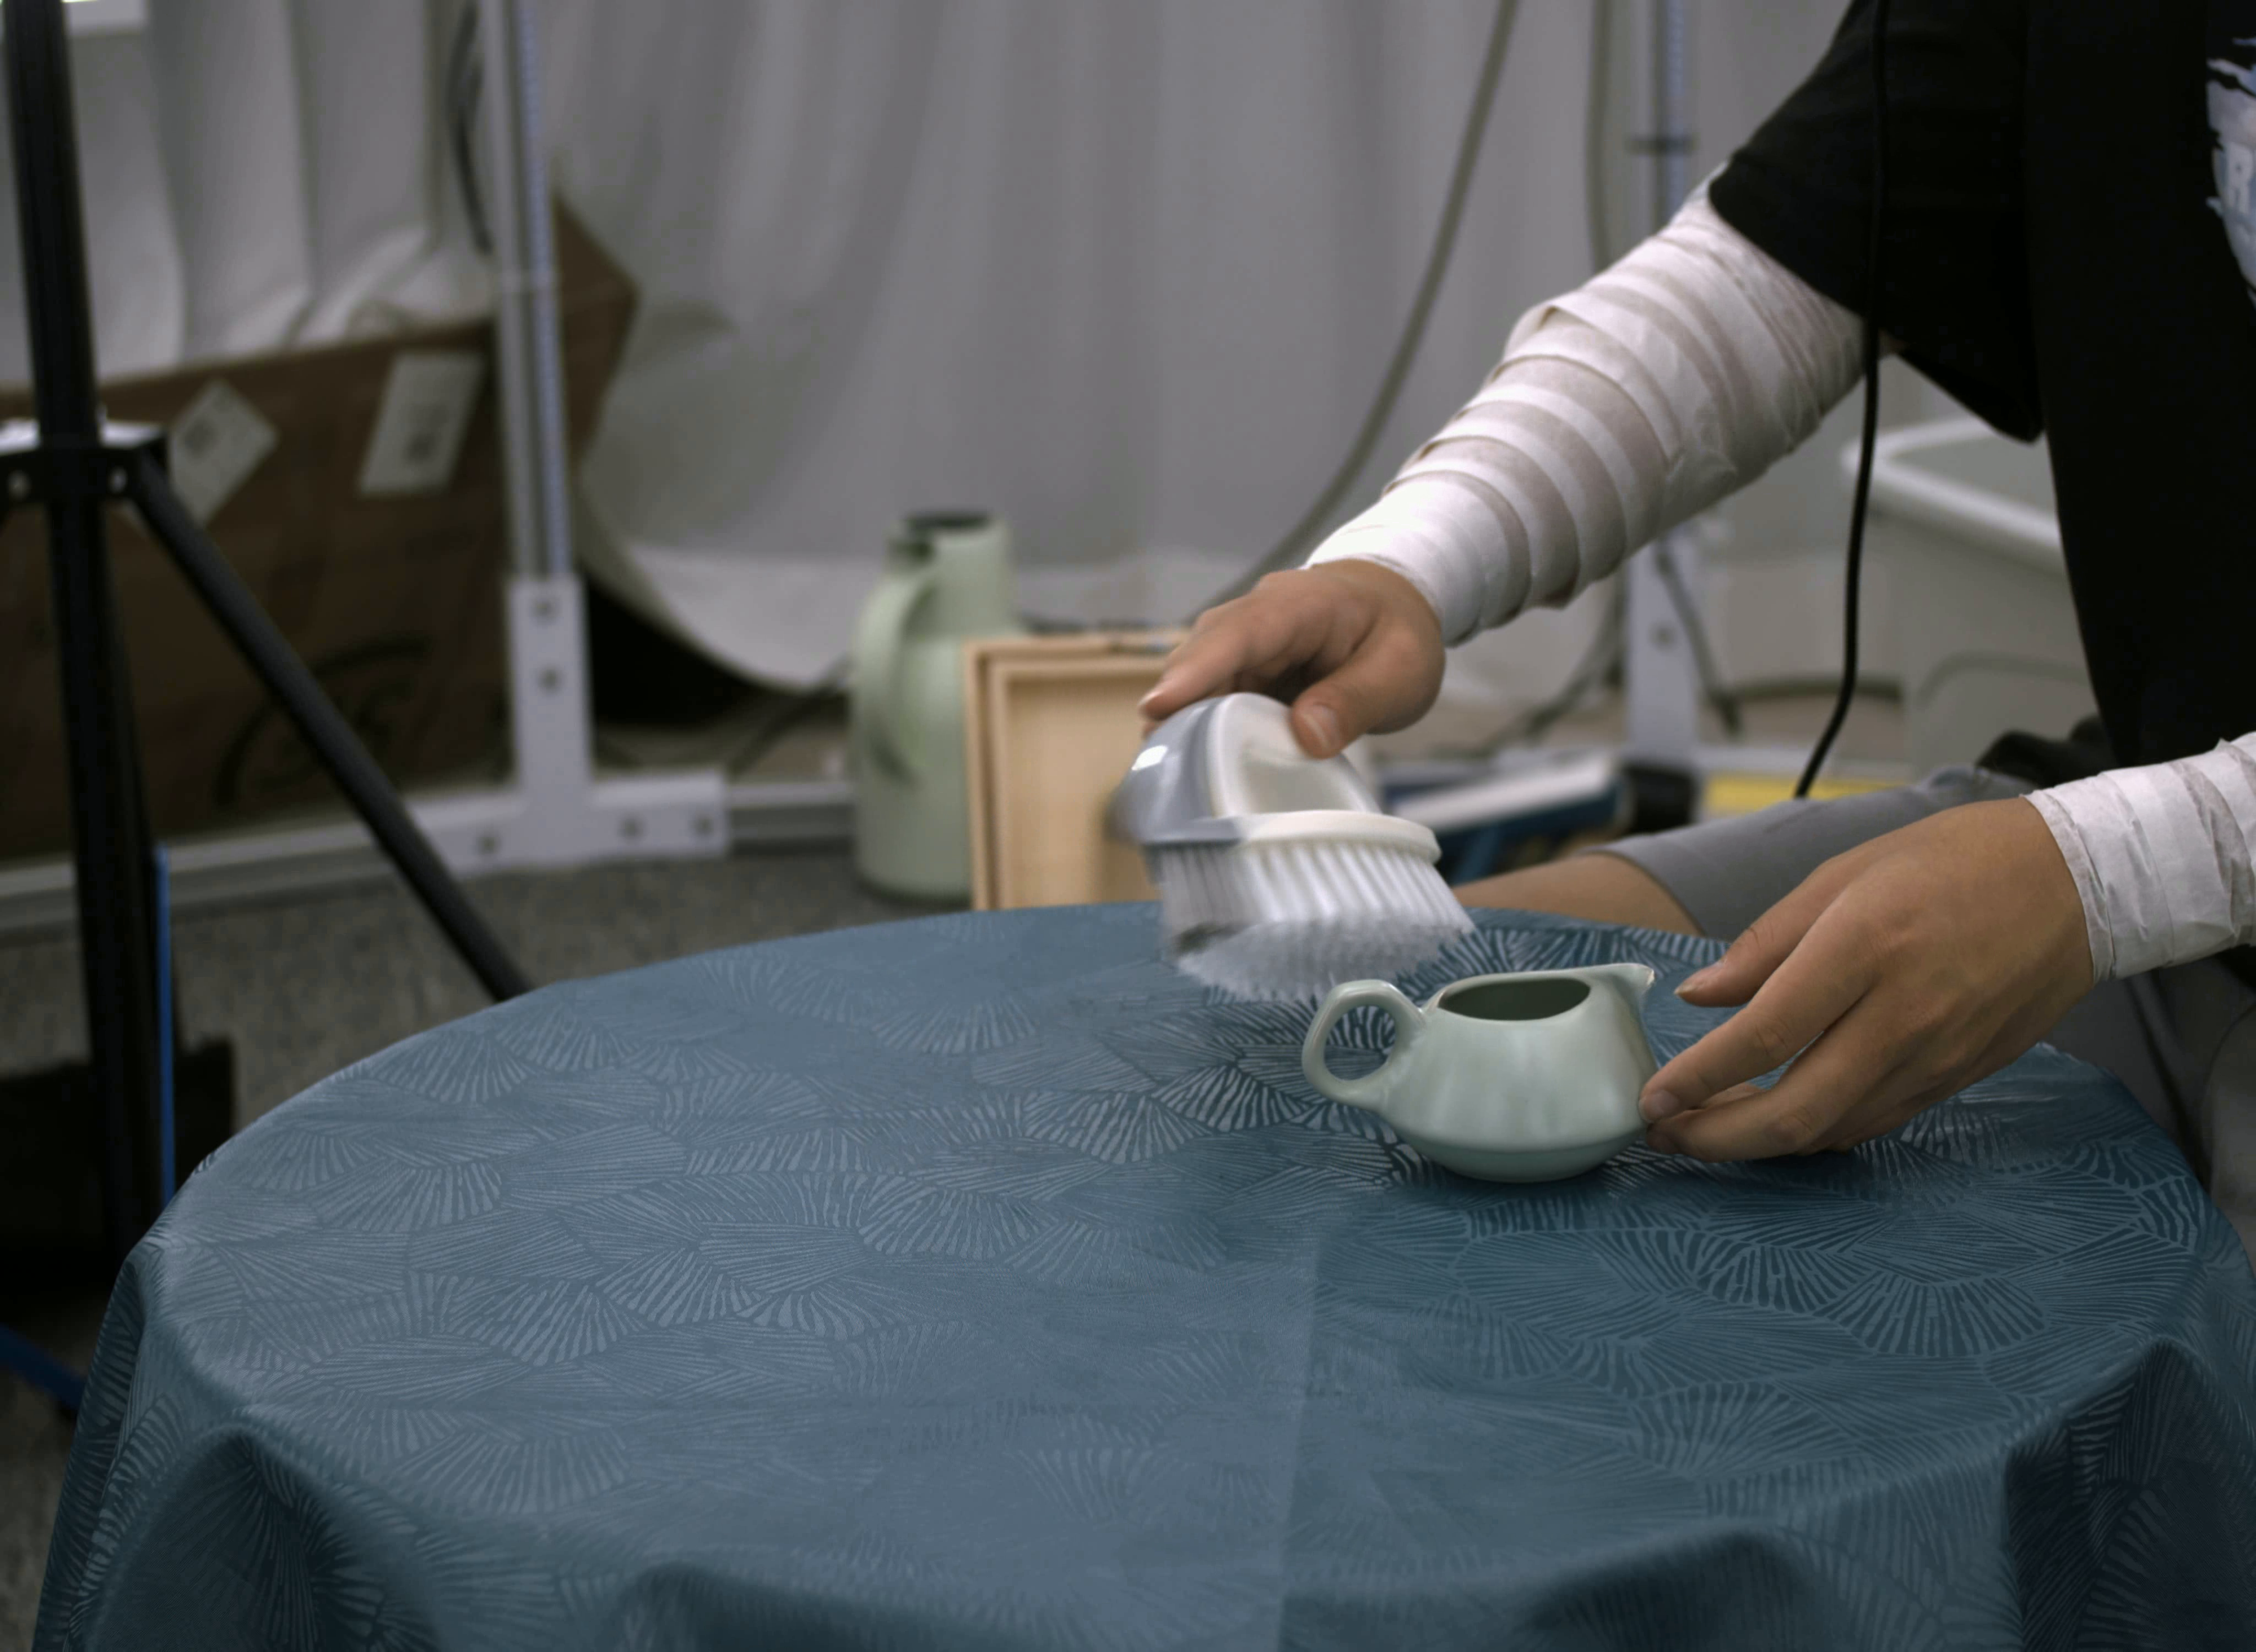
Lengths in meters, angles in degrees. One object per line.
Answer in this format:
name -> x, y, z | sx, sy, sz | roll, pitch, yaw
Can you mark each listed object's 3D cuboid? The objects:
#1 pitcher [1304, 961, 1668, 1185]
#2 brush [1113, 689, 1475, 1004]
pitcher -> 0.105, 0.073, 1.564 | 0.107, 0.060, 0.087 | -7, 15, -9
brush -> 0.038, 0.000, 1.615 | 0.062, 0.095, 0.172 | -34, -16, 22
